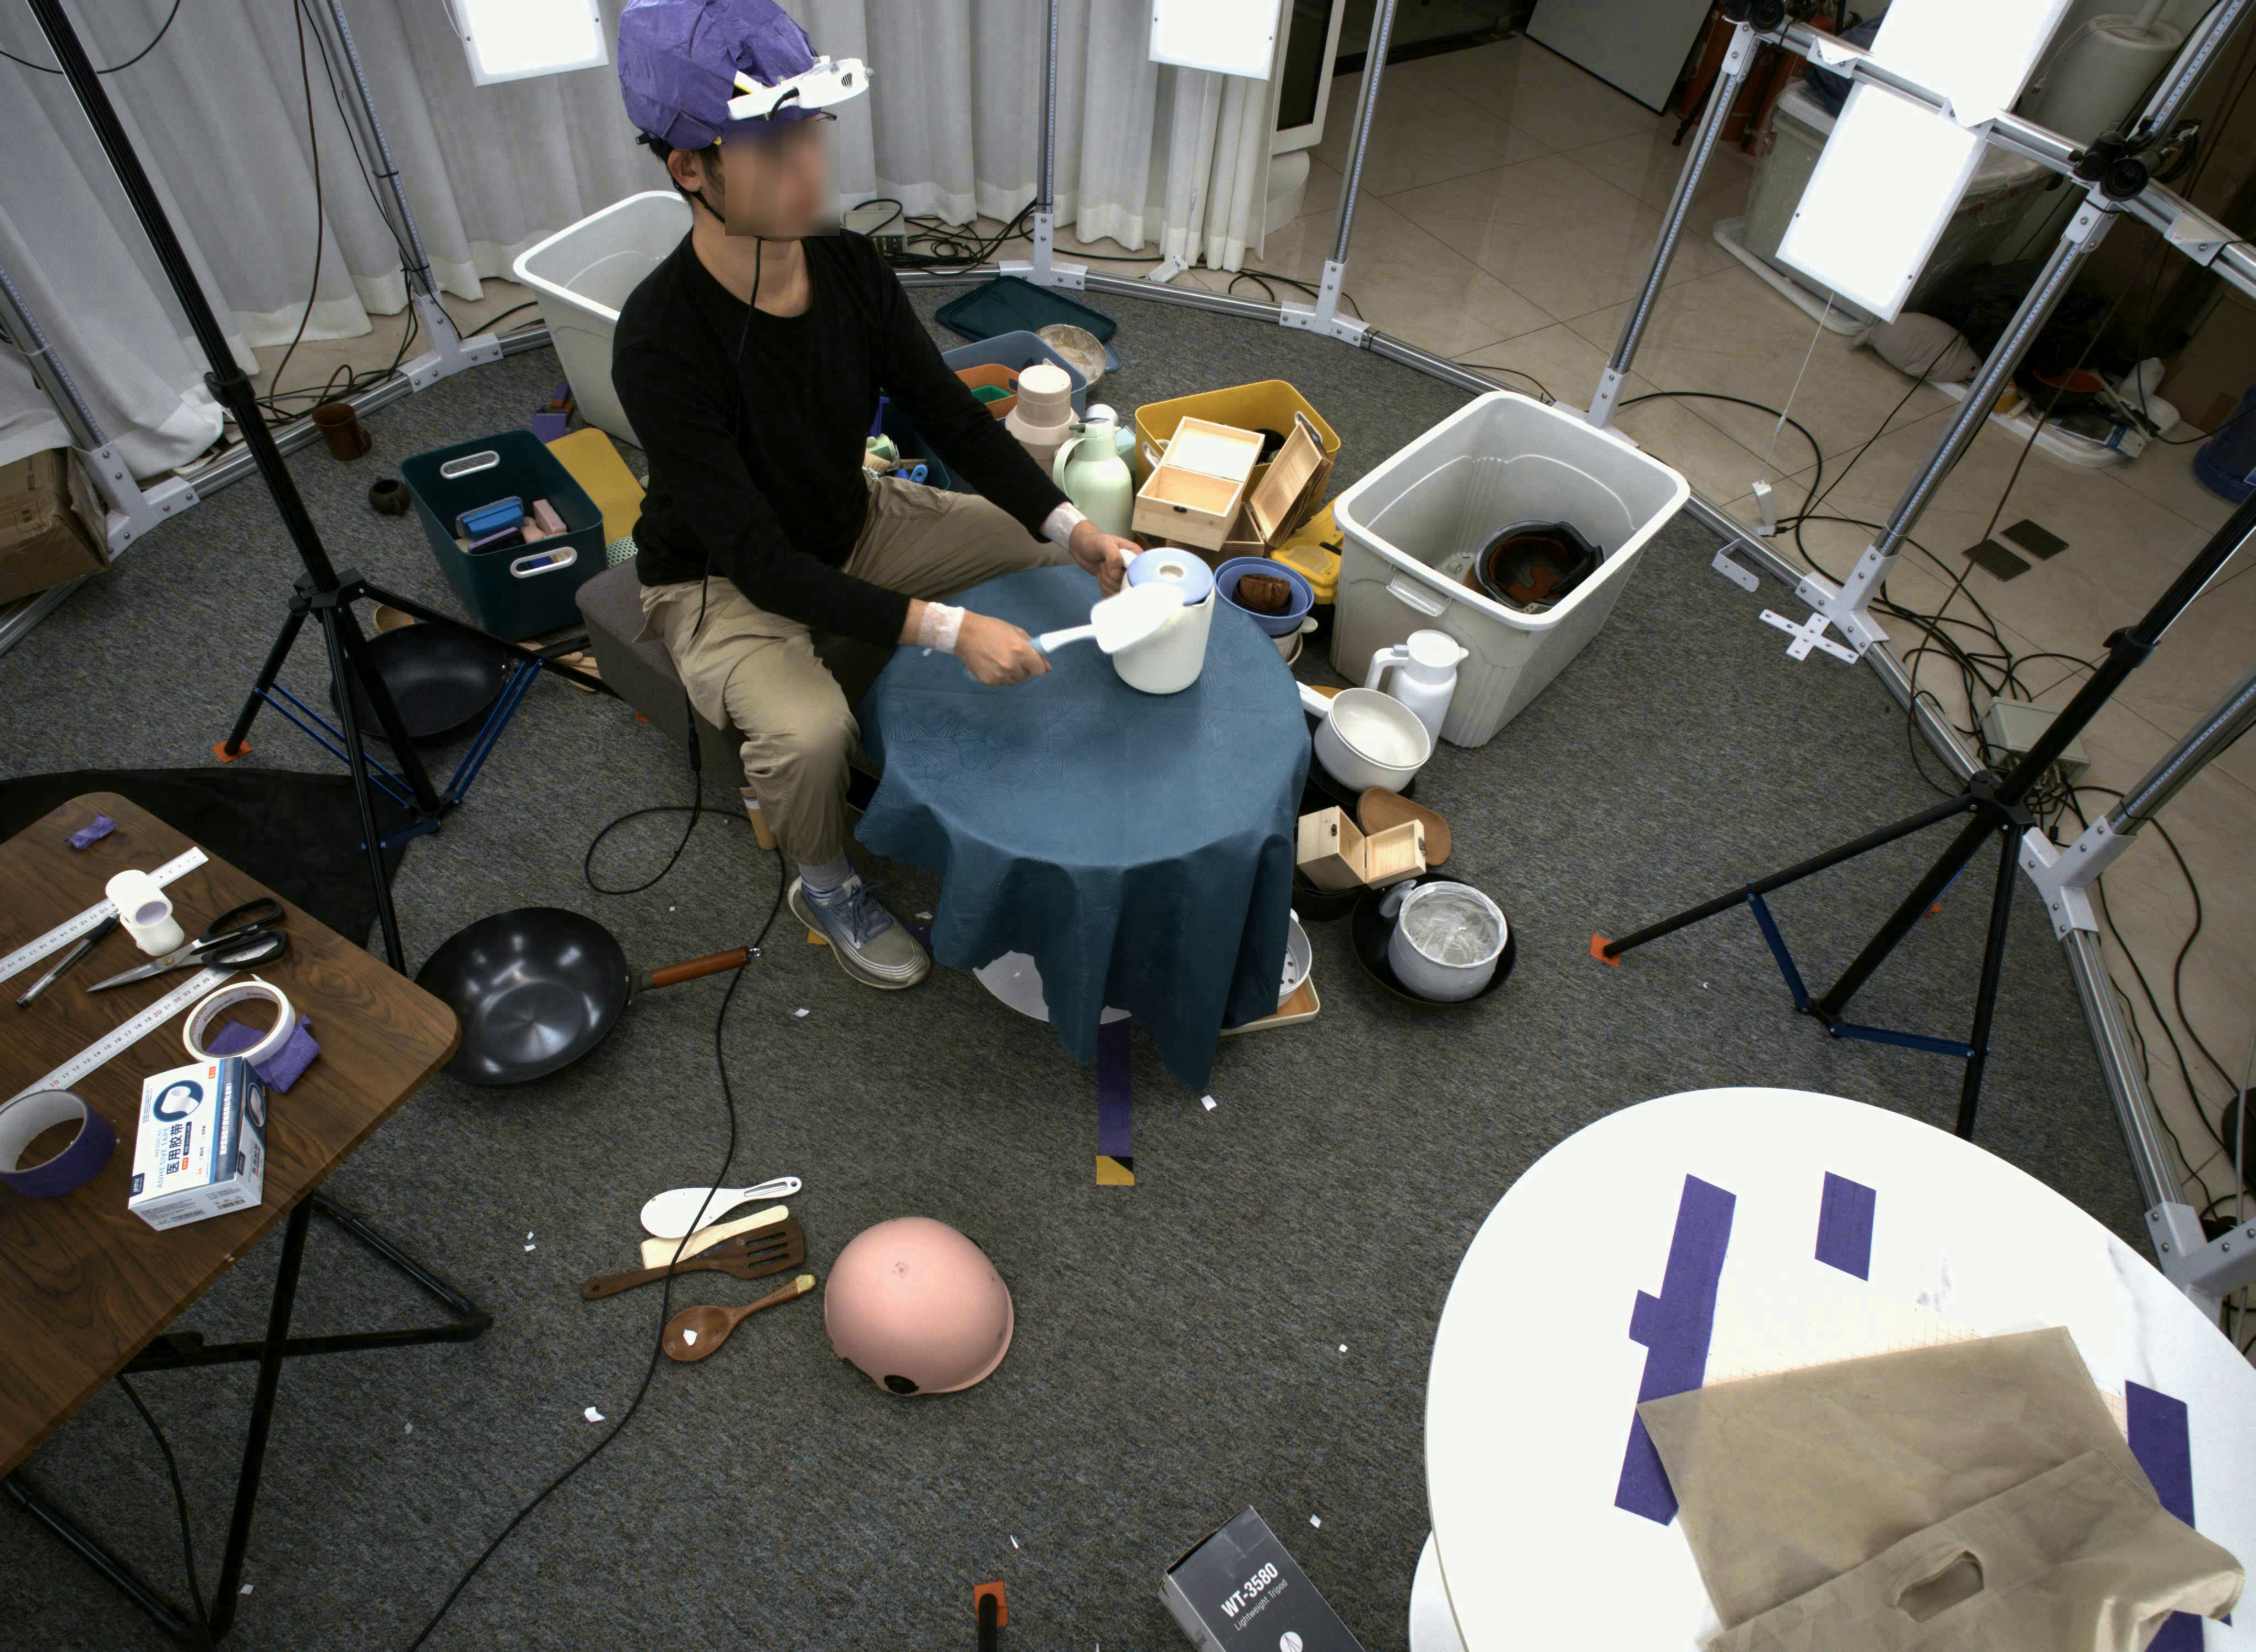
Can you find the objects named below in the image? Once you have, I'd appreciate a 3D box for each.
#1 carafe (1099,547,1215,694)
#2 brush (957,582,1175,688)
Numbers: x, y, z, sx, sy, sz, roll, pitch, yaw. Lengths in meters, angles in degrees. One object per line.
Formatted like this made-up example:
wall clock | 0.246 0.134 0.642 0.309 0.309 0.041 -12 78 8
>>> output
carafe | 0.032 -0.303 1.821 0.133 0.178 0.194 -34 59 -31
brush | -0.082 -0.254 1.739 0.324 0.083 0.085 -21 43 20
